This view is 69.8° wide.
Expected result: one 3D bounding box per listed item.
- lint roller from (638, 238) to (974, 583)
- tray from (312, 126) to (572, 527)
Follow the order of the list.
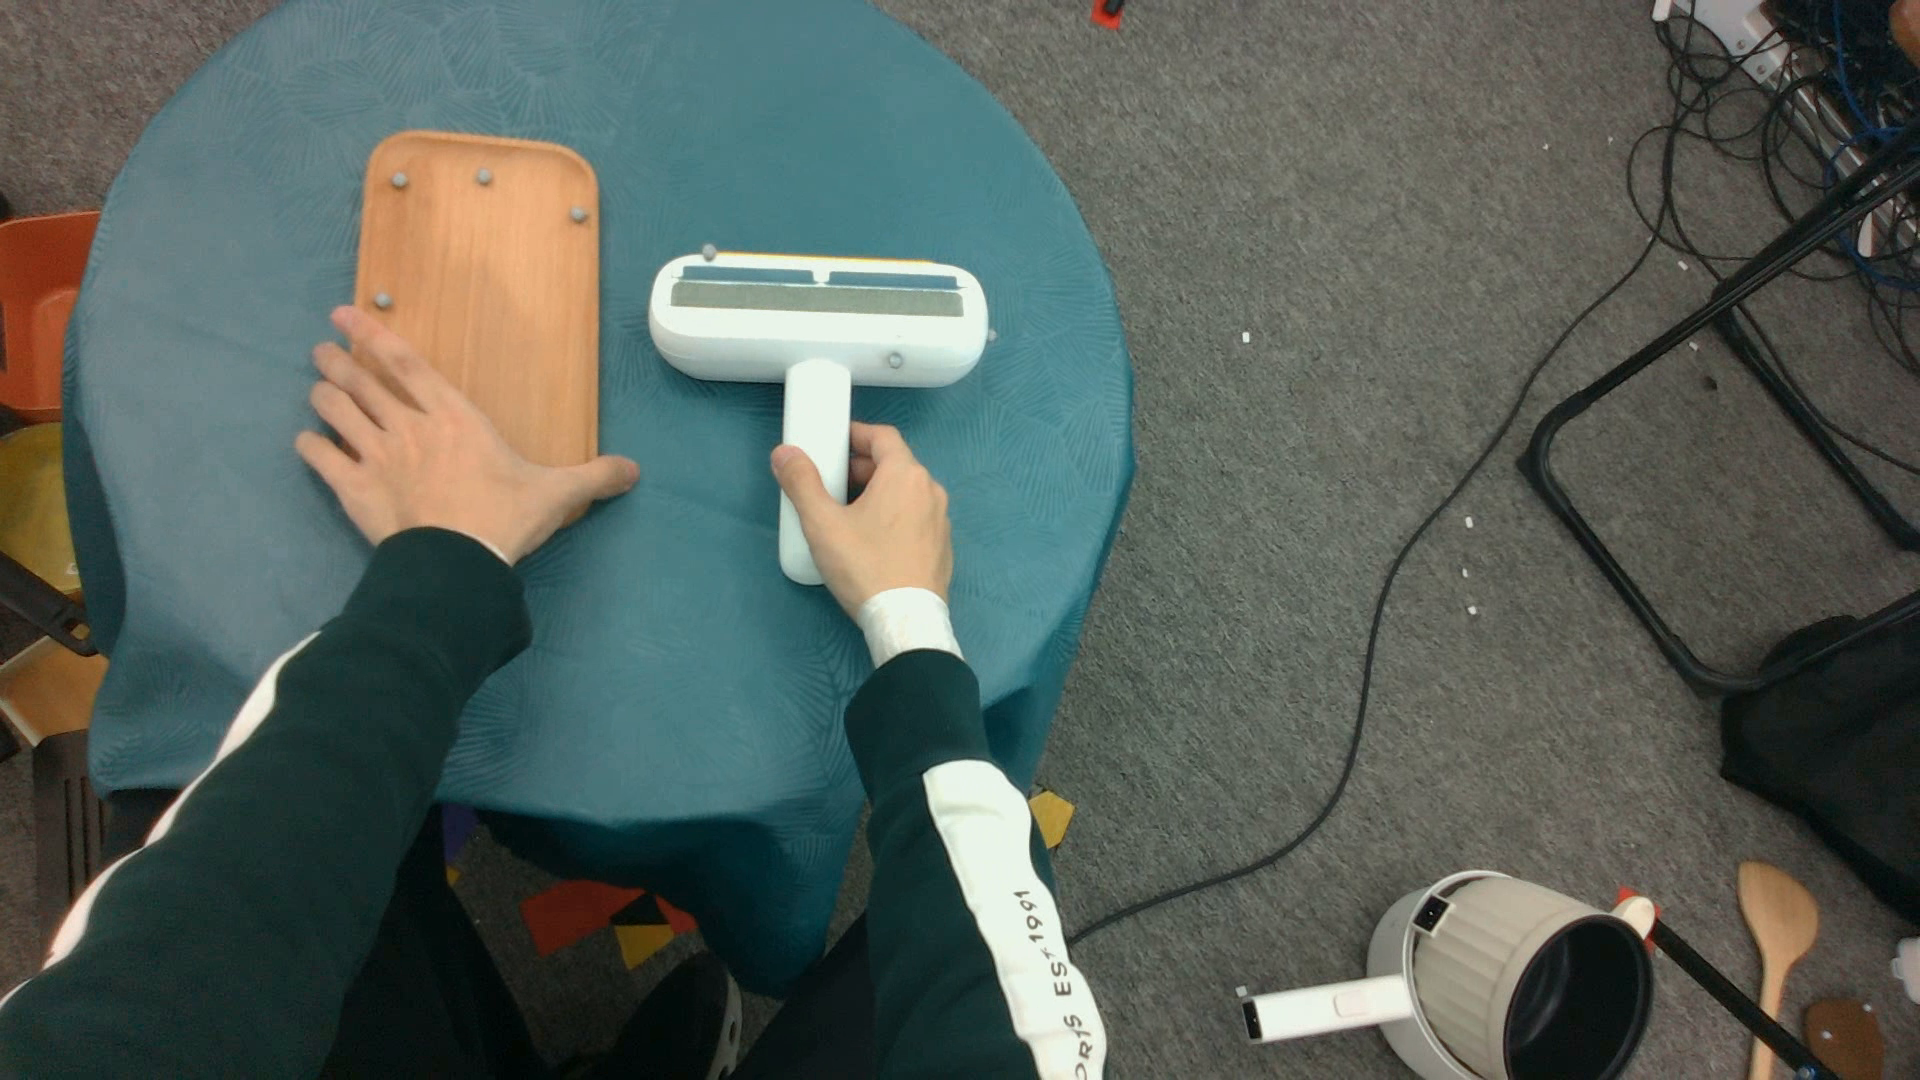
[{"bbox_3d":[-0.095,-0.073,0.796,0.193,0.074,0.193,7,79,-5],"label":"lint roller"},{"bbox_3d":[-0.283,-0.122,0.767,0.131,0.023,0.251,1,67,-15],"label":"tray"}]
